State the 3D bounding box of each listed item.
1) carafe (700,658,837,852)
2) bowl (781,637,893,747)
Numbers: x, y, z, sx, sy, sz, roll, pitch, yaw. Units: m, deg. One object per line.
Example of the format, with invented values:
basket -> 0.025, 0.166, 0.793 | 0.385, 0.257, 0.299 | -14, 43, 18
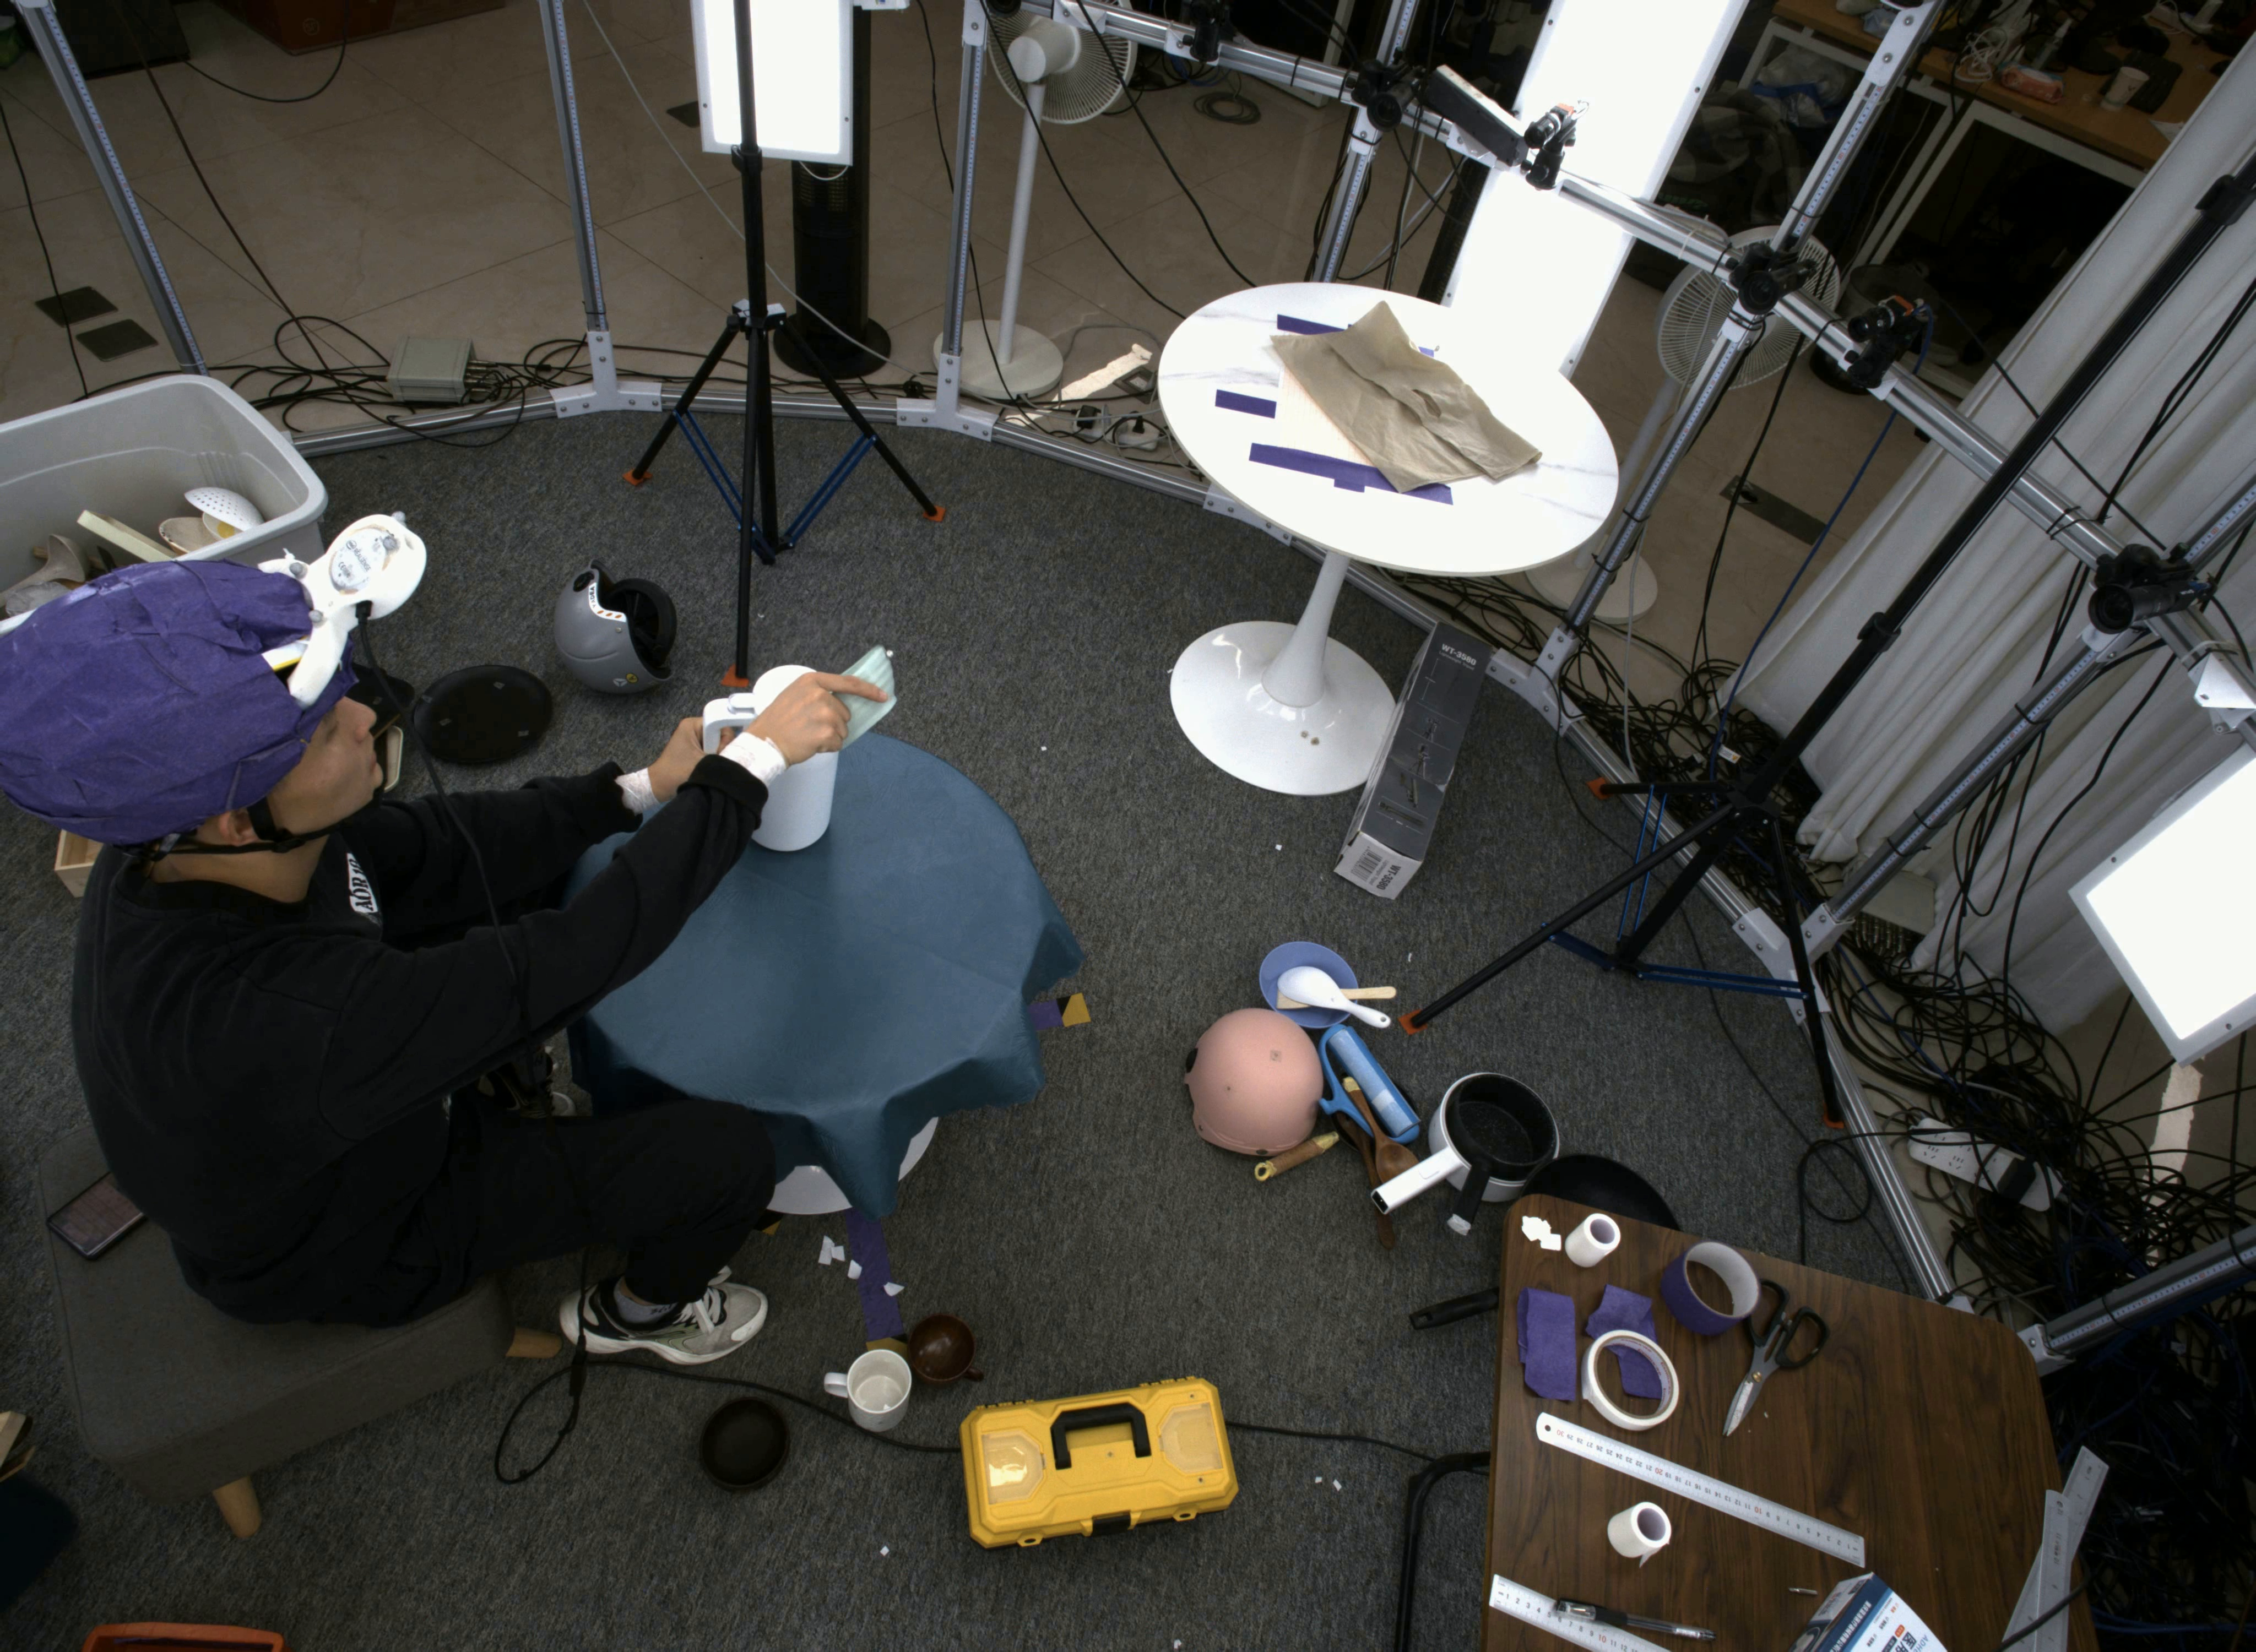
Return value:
carafe -> -0.439, -0.082, 1.599 | 0.174, 0.272, 0.122 | -6, 62, -21
bowl -> -0.311, -0.139, 1.431 | 0.060, 0.148, 0.151 | 49, 50, -16
